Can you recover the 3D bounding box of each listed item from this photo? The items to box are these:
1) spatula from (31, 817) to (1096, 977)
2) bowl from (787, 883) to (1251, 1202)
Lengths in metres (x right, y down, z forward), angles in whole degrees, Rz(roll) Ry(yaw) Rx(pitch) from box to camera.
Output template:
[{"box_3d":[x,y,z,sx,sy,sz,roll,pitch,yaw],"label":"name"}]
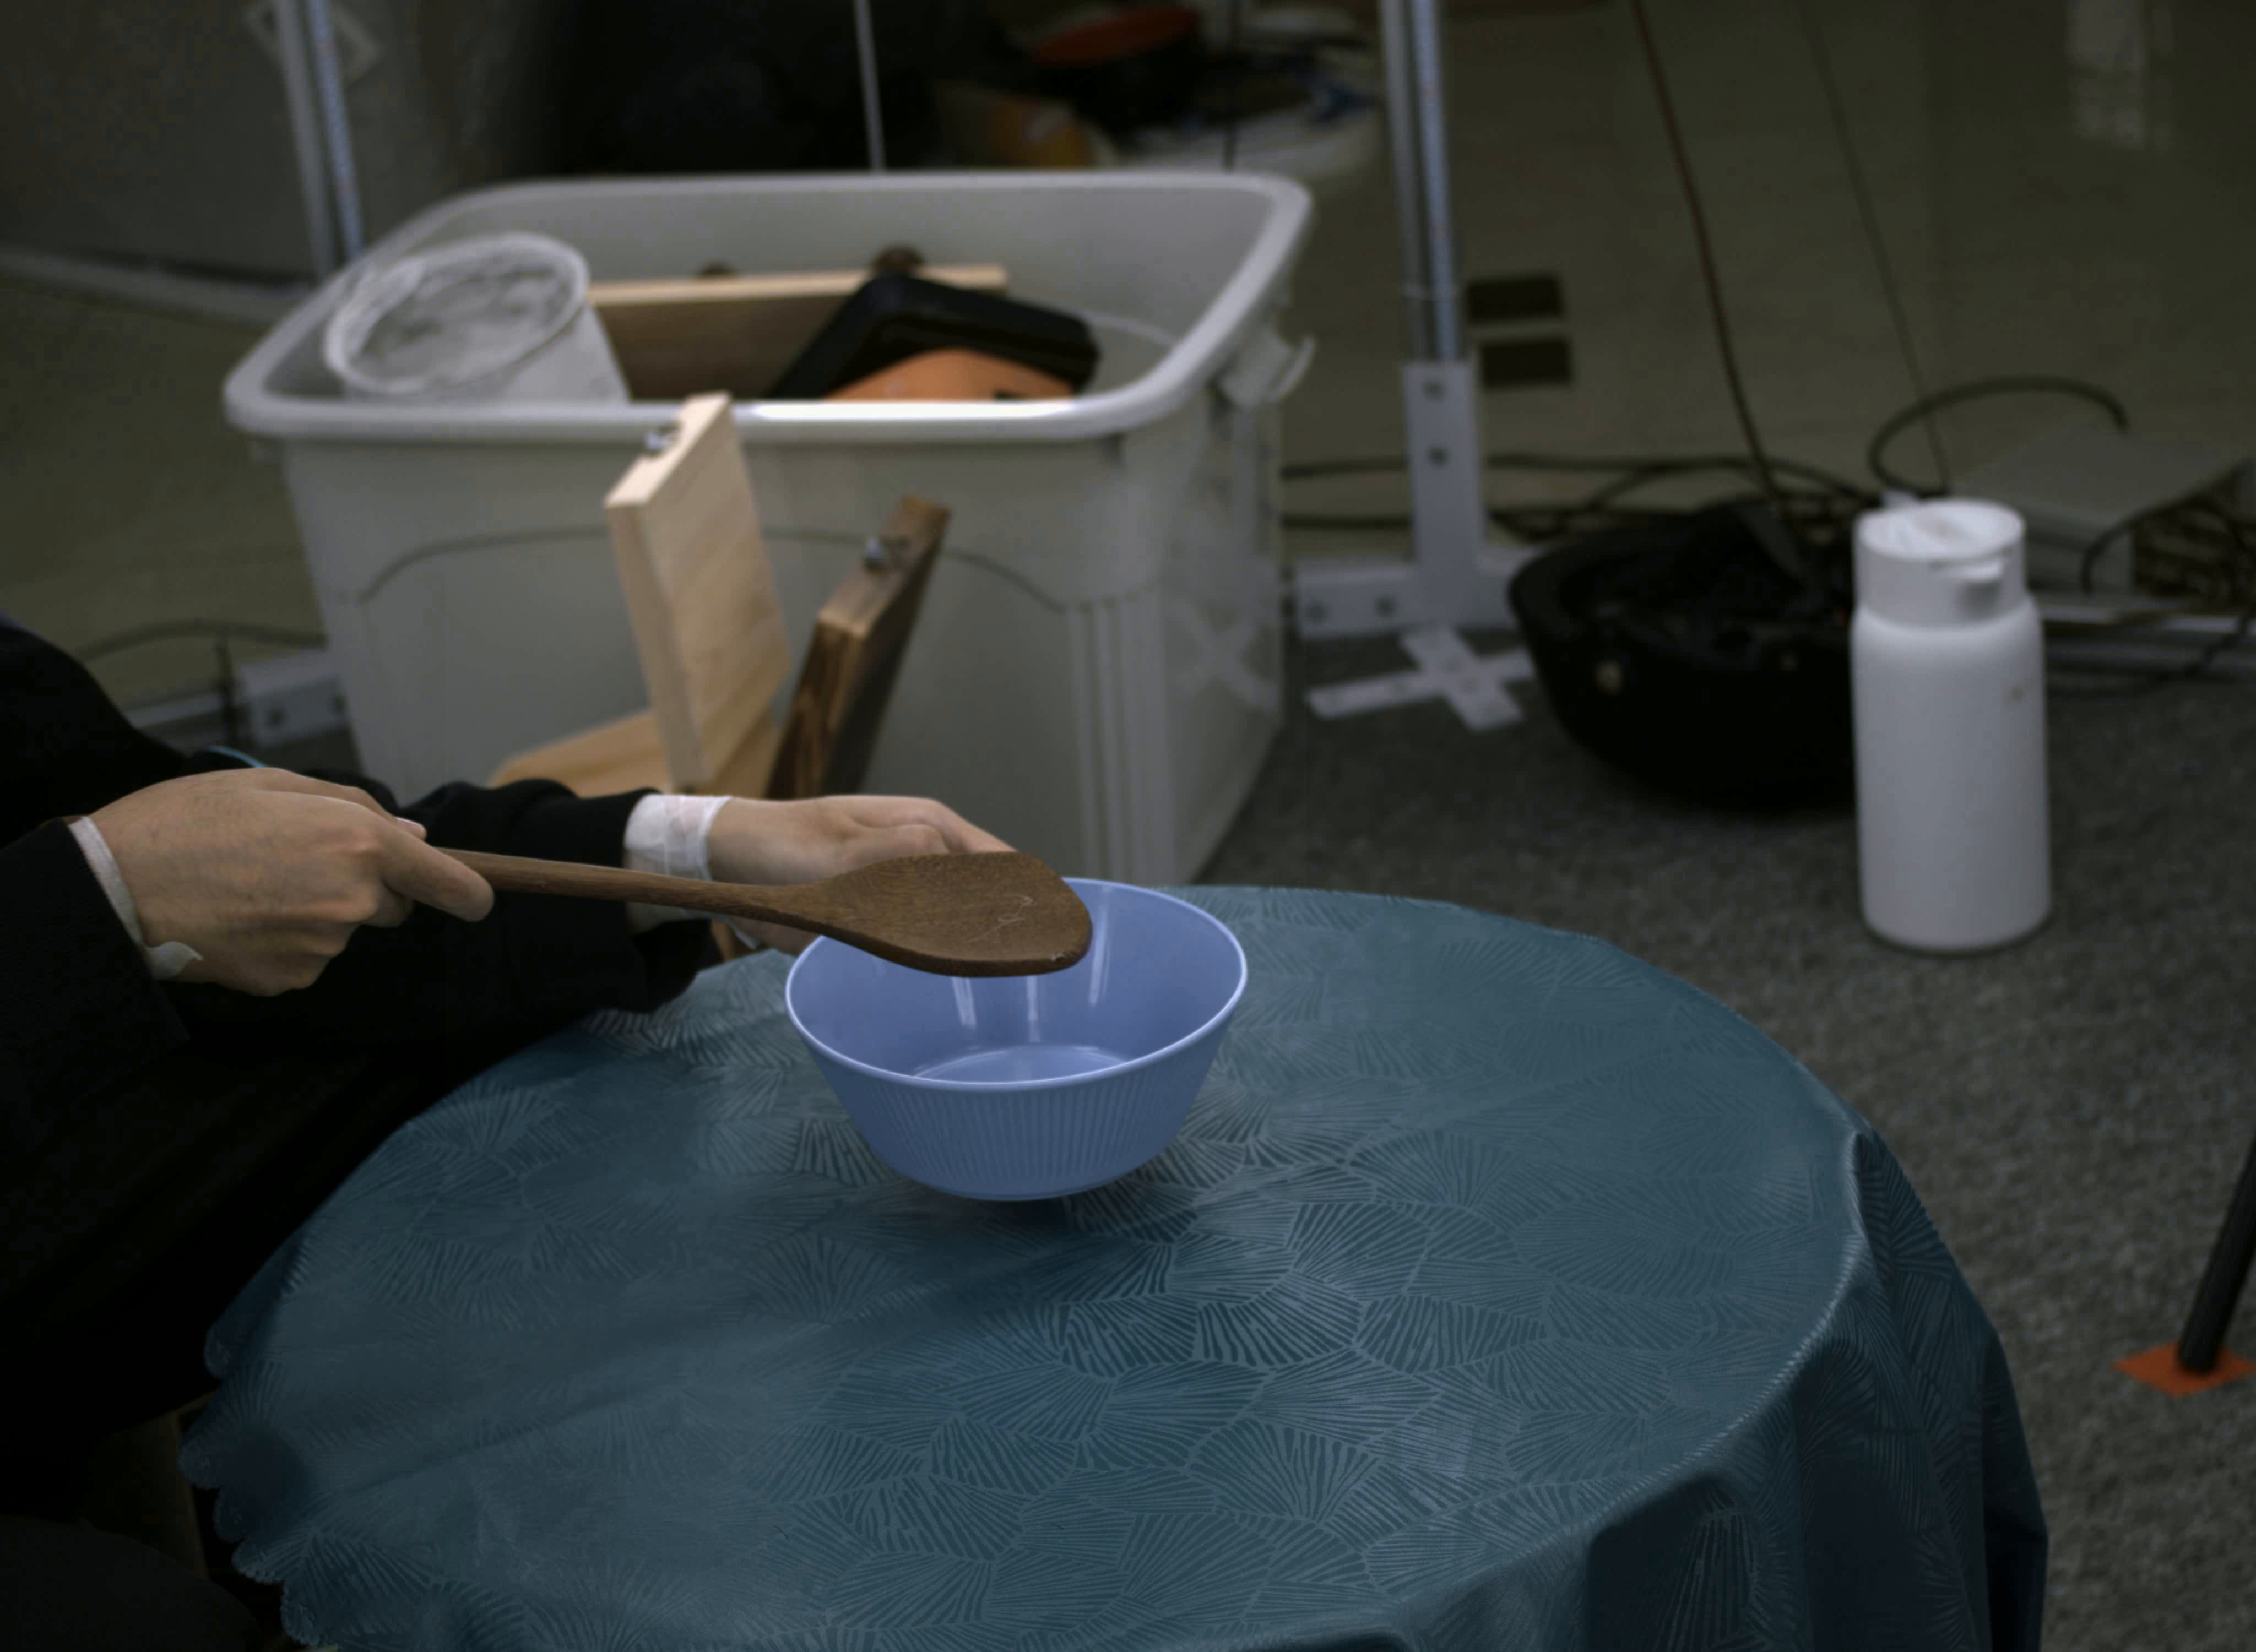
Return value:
[{"box_3d":[-0.199,0.020,2.032,0.386,0.016,0.094,5,24,-18],"label":"spatula"},{"box_3d":[-0.039,0.087,2.149,0.176,0.071,0.173,-3,25,2],"label":"bowl"}]
